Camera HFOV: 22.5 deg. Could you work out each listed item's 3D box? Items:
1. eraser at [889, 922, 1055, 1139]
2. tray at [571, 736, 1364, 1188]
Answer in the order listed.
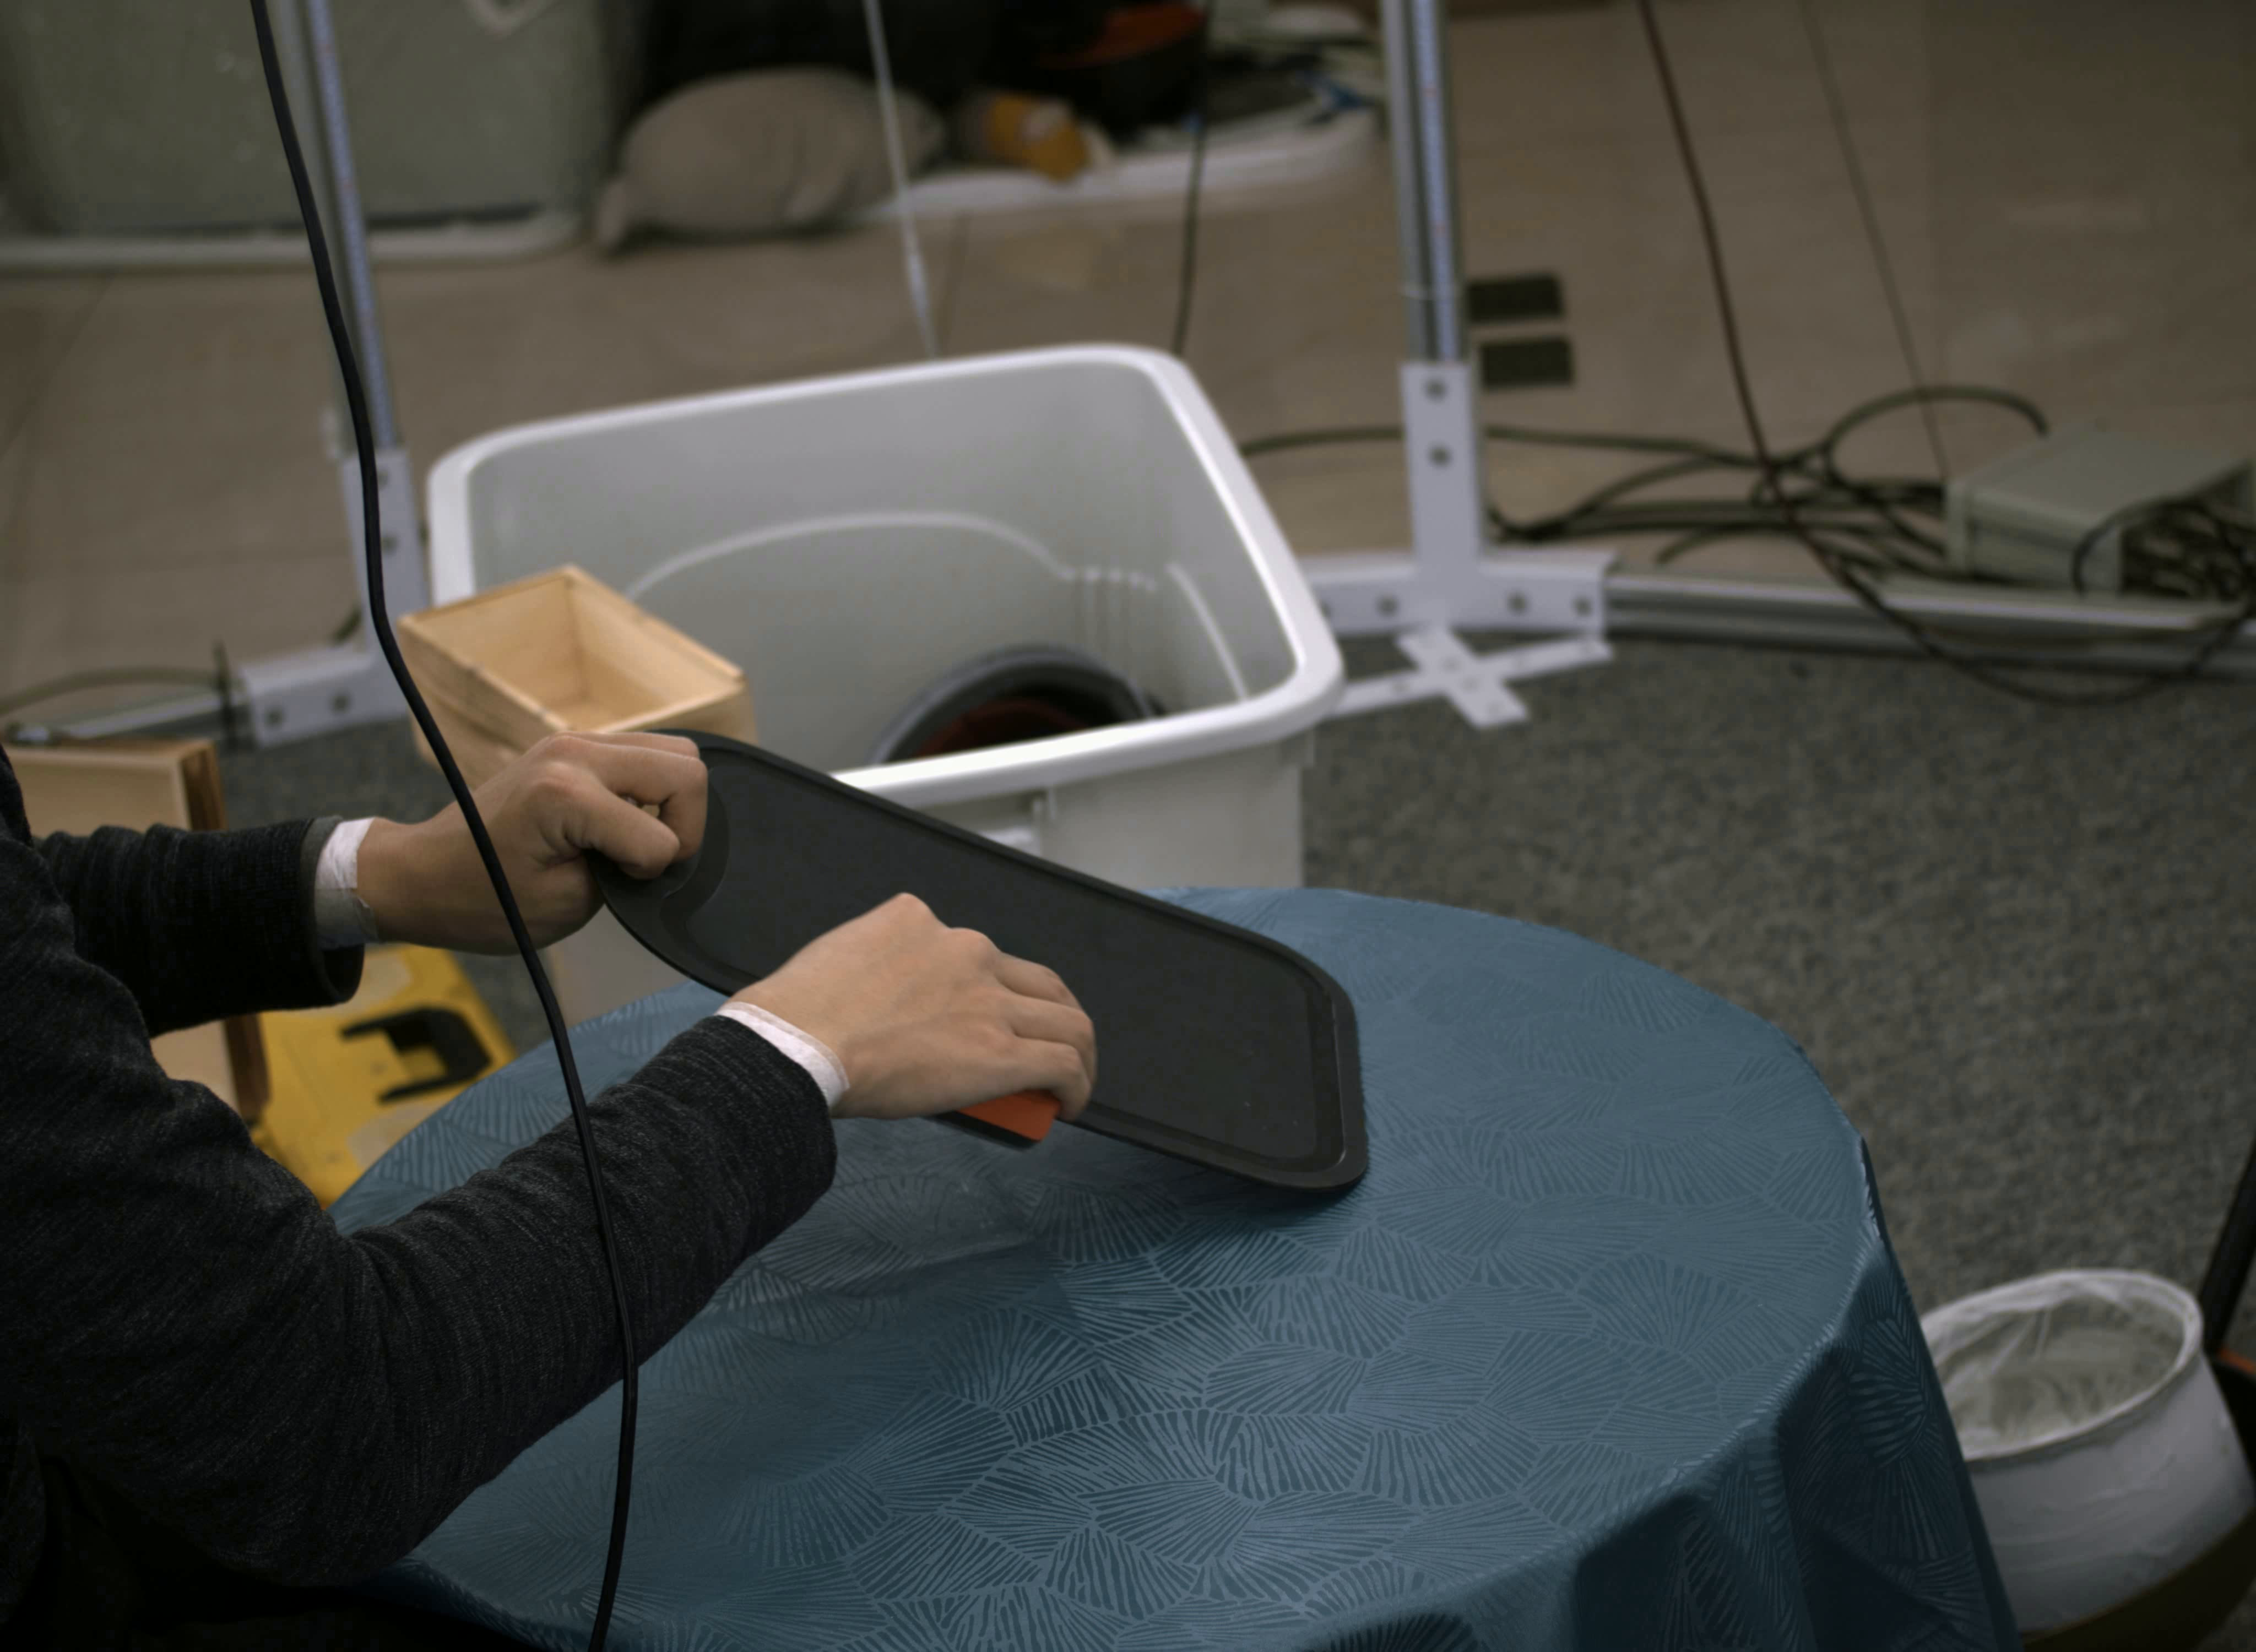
[{"bbox_3d":[-0.057,0.075,2.092,0.059,0.023,0.106,14,27,-9],"label":"eraser"},{"bbox_3d":[-0.060,0.047,2.176,0.326,0.010,0.208,21,23,-9],"label":"tray"}]
